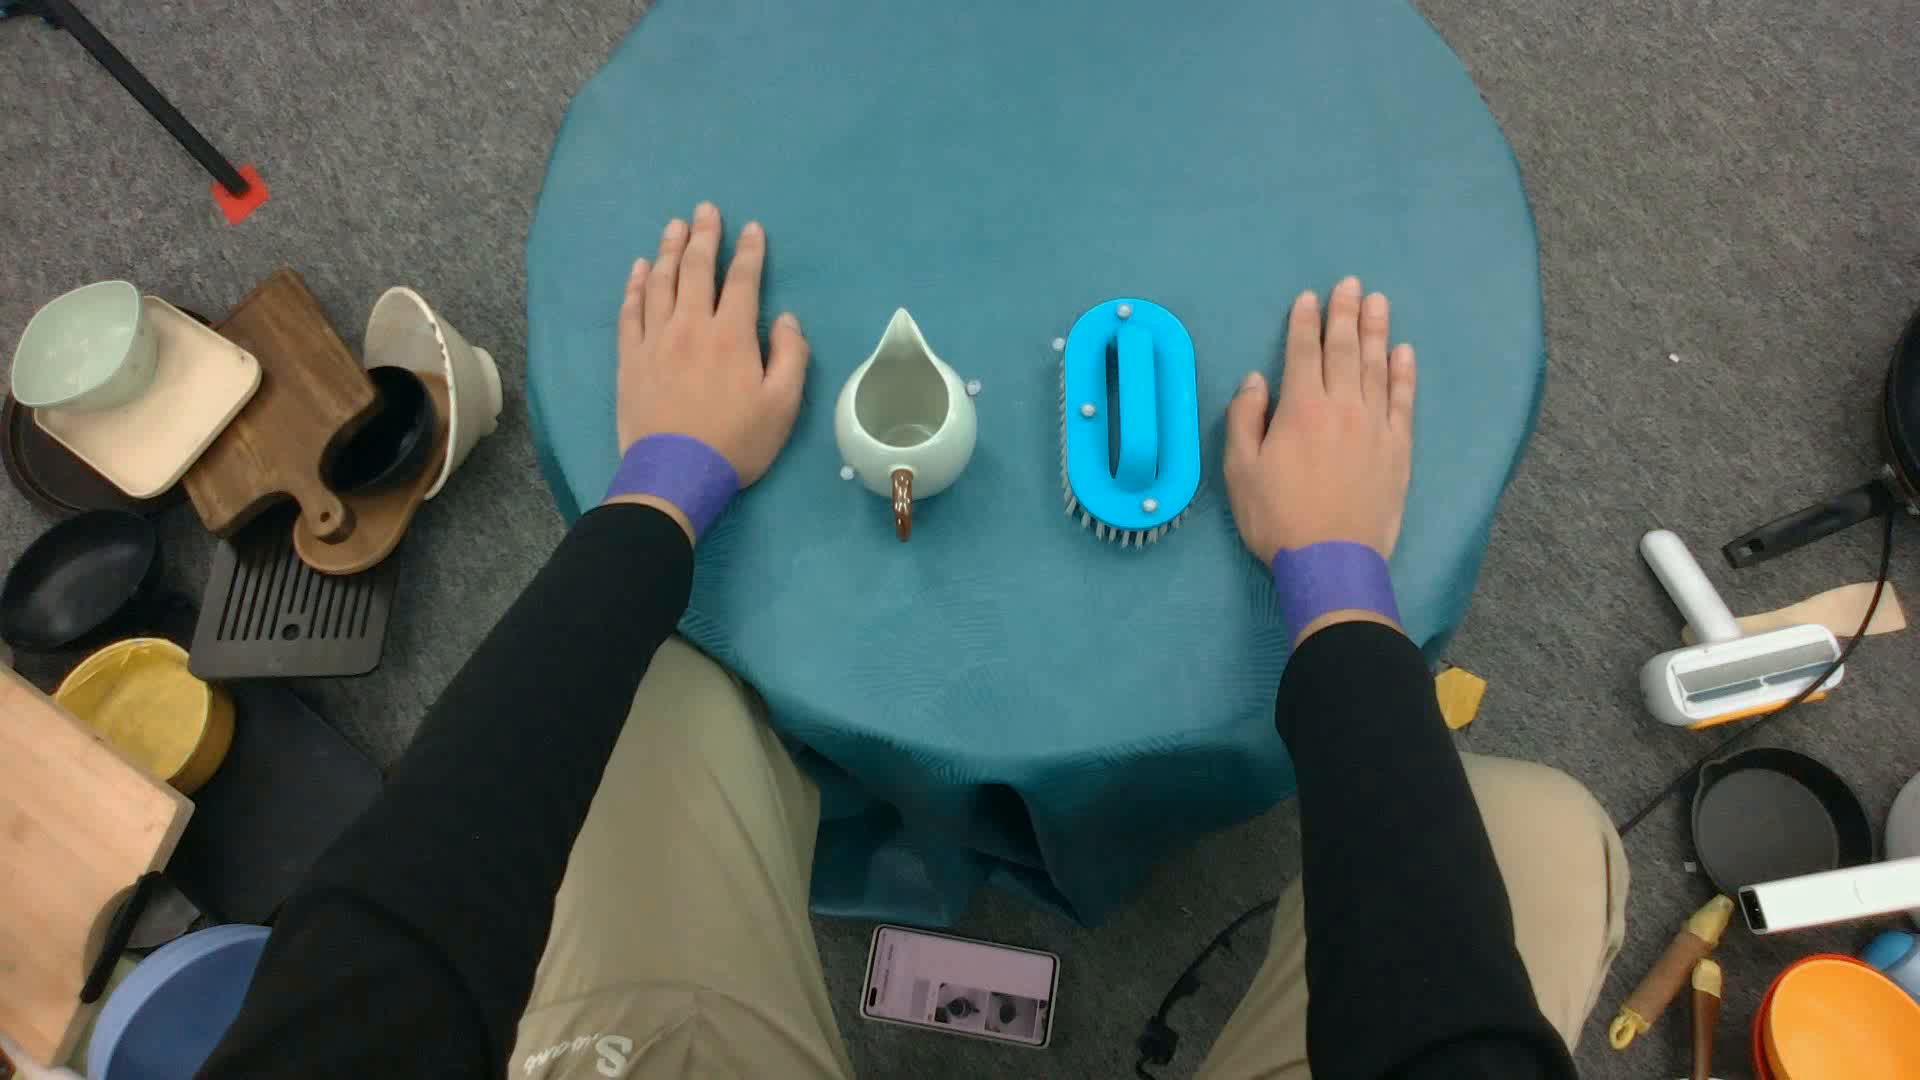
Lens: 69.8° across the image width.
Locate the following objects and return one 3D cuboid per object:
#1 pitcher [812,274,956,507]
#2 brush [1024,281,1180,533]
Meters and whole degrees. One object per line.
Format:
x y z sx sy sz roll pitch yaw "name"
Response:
-0.040 -0.067 0.736 0.076 0.087 0.119 1 68 6 "pitcher"
0.080 -0.079 0.751 0.084 0.063 0.142 2 72 -4 "brush"
